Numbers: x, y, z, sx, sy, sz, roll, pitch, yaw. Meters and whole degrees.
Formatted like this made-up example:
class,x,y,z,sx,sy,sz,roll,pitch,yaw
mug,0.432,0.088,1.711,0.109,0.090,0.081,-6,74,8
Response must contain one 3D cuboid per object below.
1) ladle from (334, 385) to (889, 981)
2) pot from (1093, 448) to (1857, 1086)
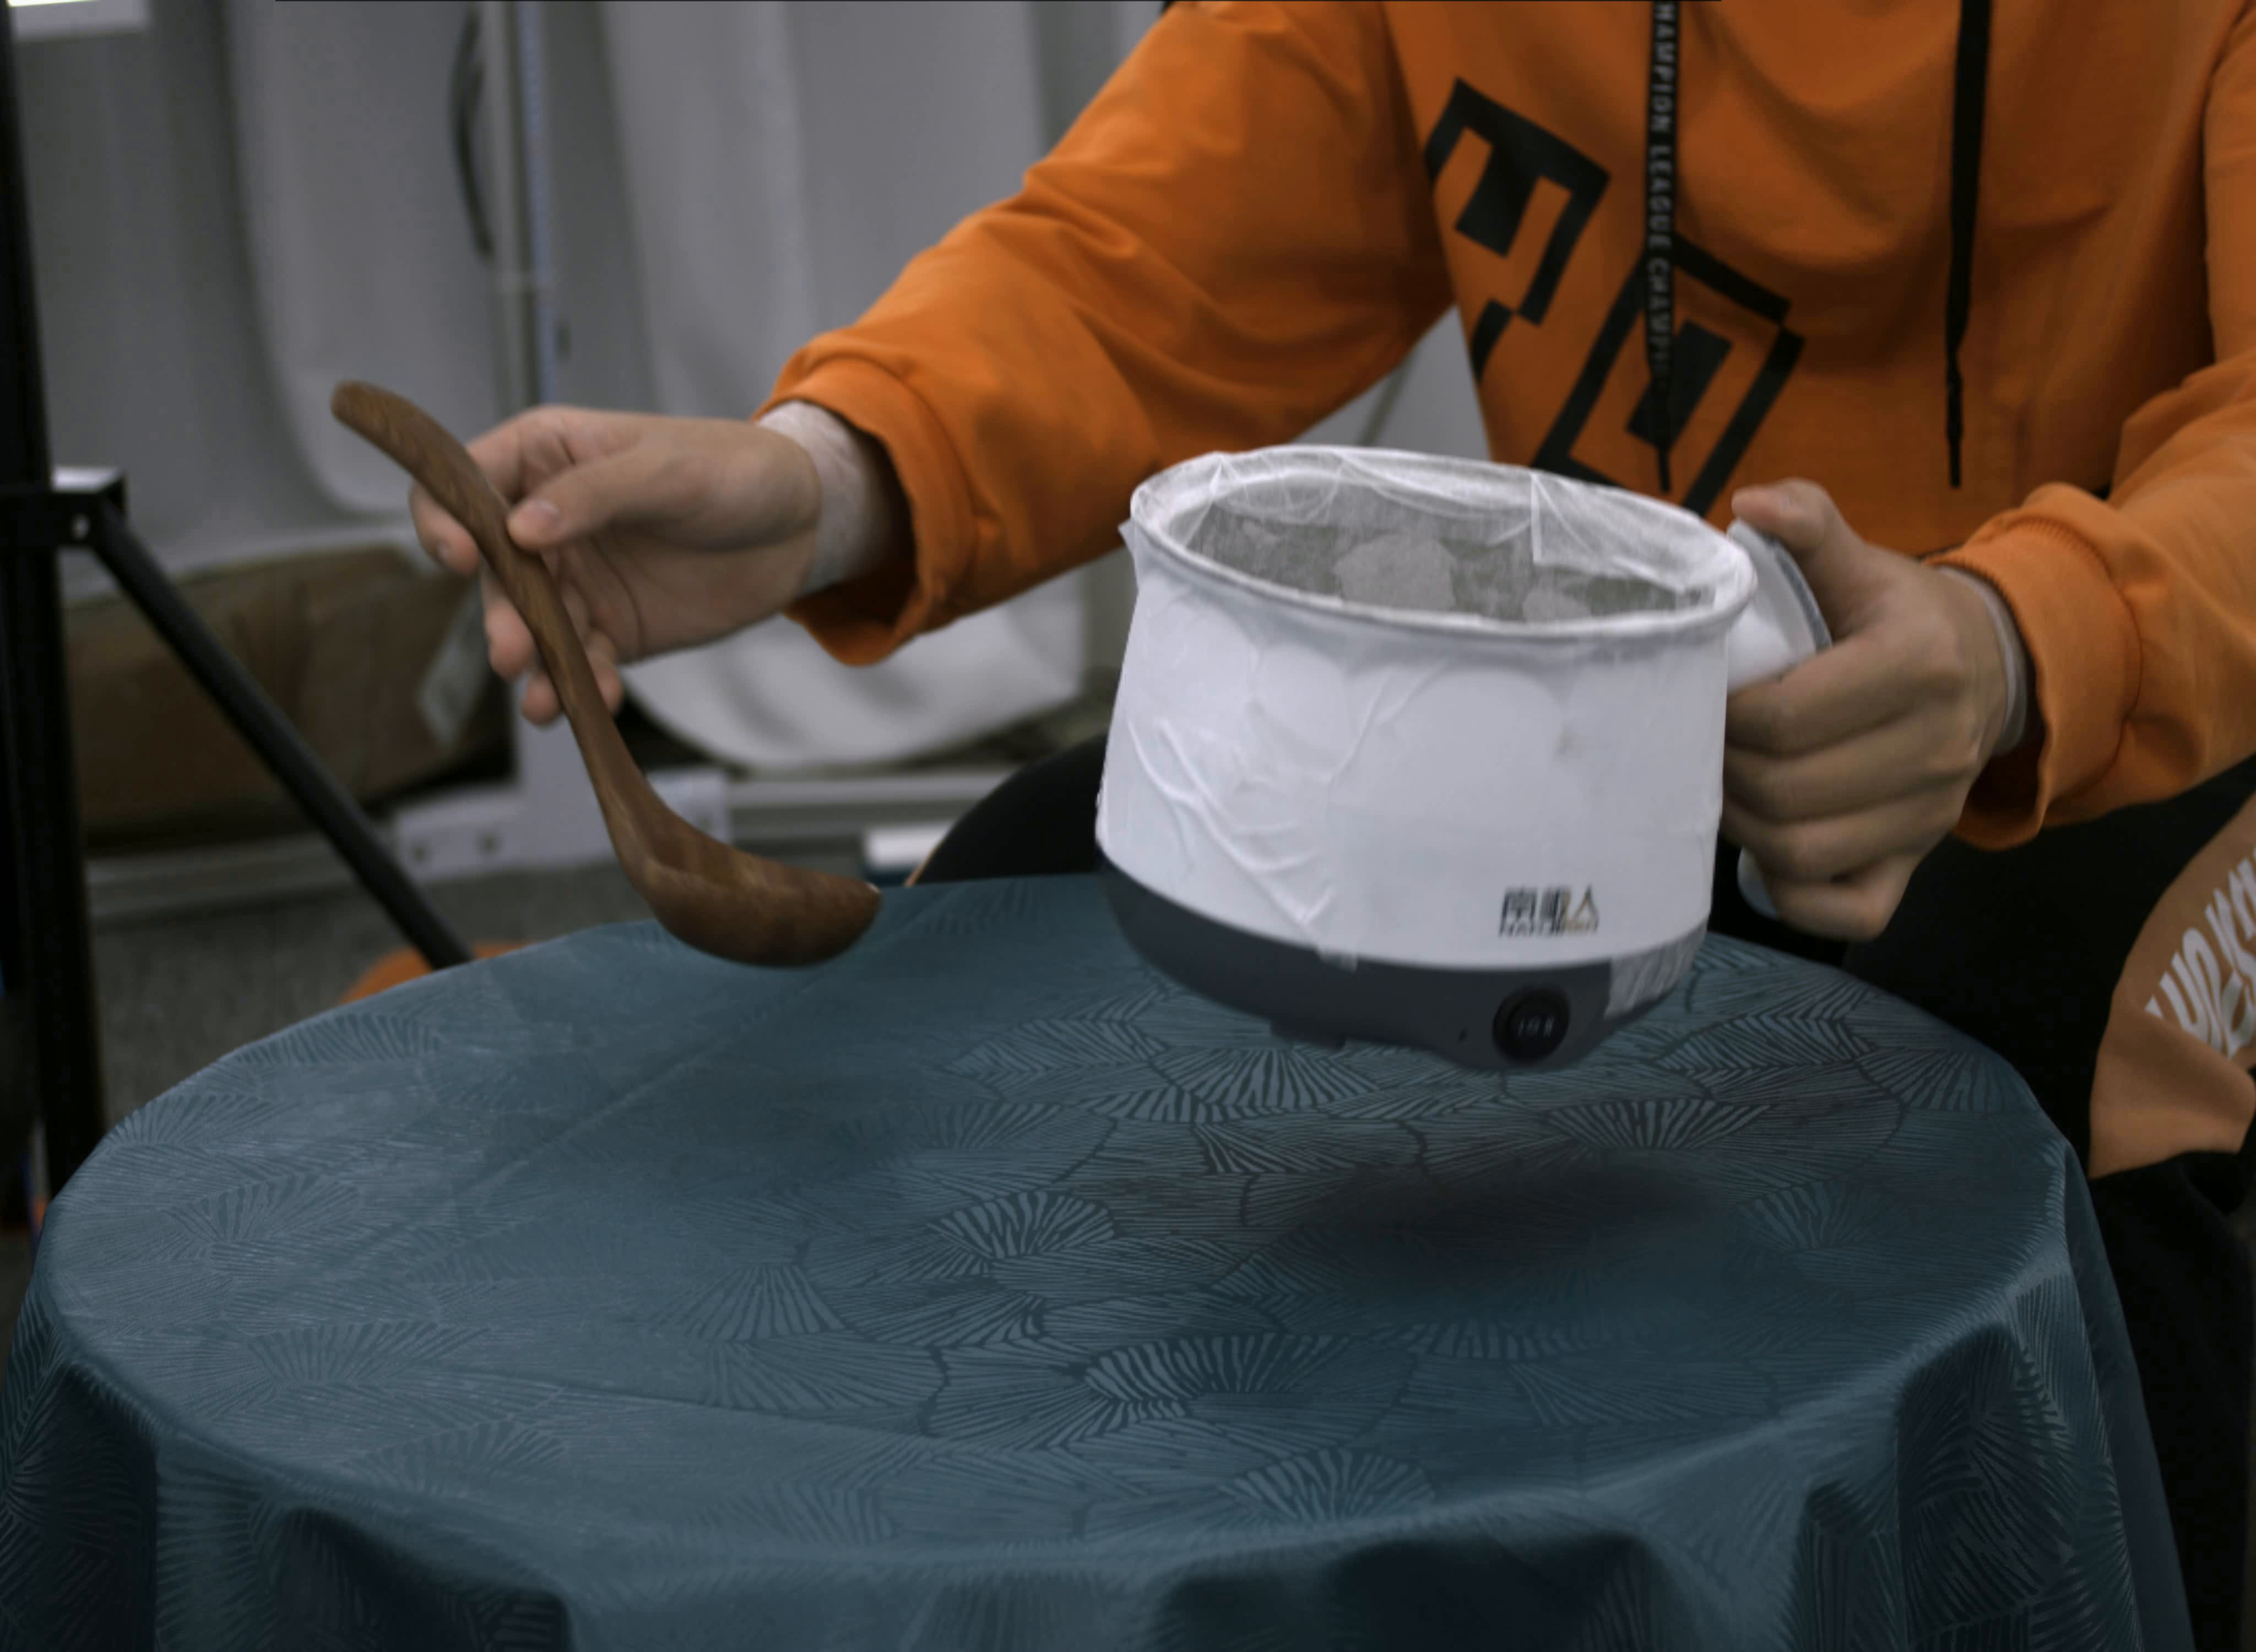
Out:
class,x,y,z,sx,sy,sz,roll,pitch,yaw
ladle,-0.162,-0.053,1.654,0.065,0.264,0.075,-42,-23,20
pot,0.106,-0.020,1.511,0.229,0.137,0.182,-2,21,-24
